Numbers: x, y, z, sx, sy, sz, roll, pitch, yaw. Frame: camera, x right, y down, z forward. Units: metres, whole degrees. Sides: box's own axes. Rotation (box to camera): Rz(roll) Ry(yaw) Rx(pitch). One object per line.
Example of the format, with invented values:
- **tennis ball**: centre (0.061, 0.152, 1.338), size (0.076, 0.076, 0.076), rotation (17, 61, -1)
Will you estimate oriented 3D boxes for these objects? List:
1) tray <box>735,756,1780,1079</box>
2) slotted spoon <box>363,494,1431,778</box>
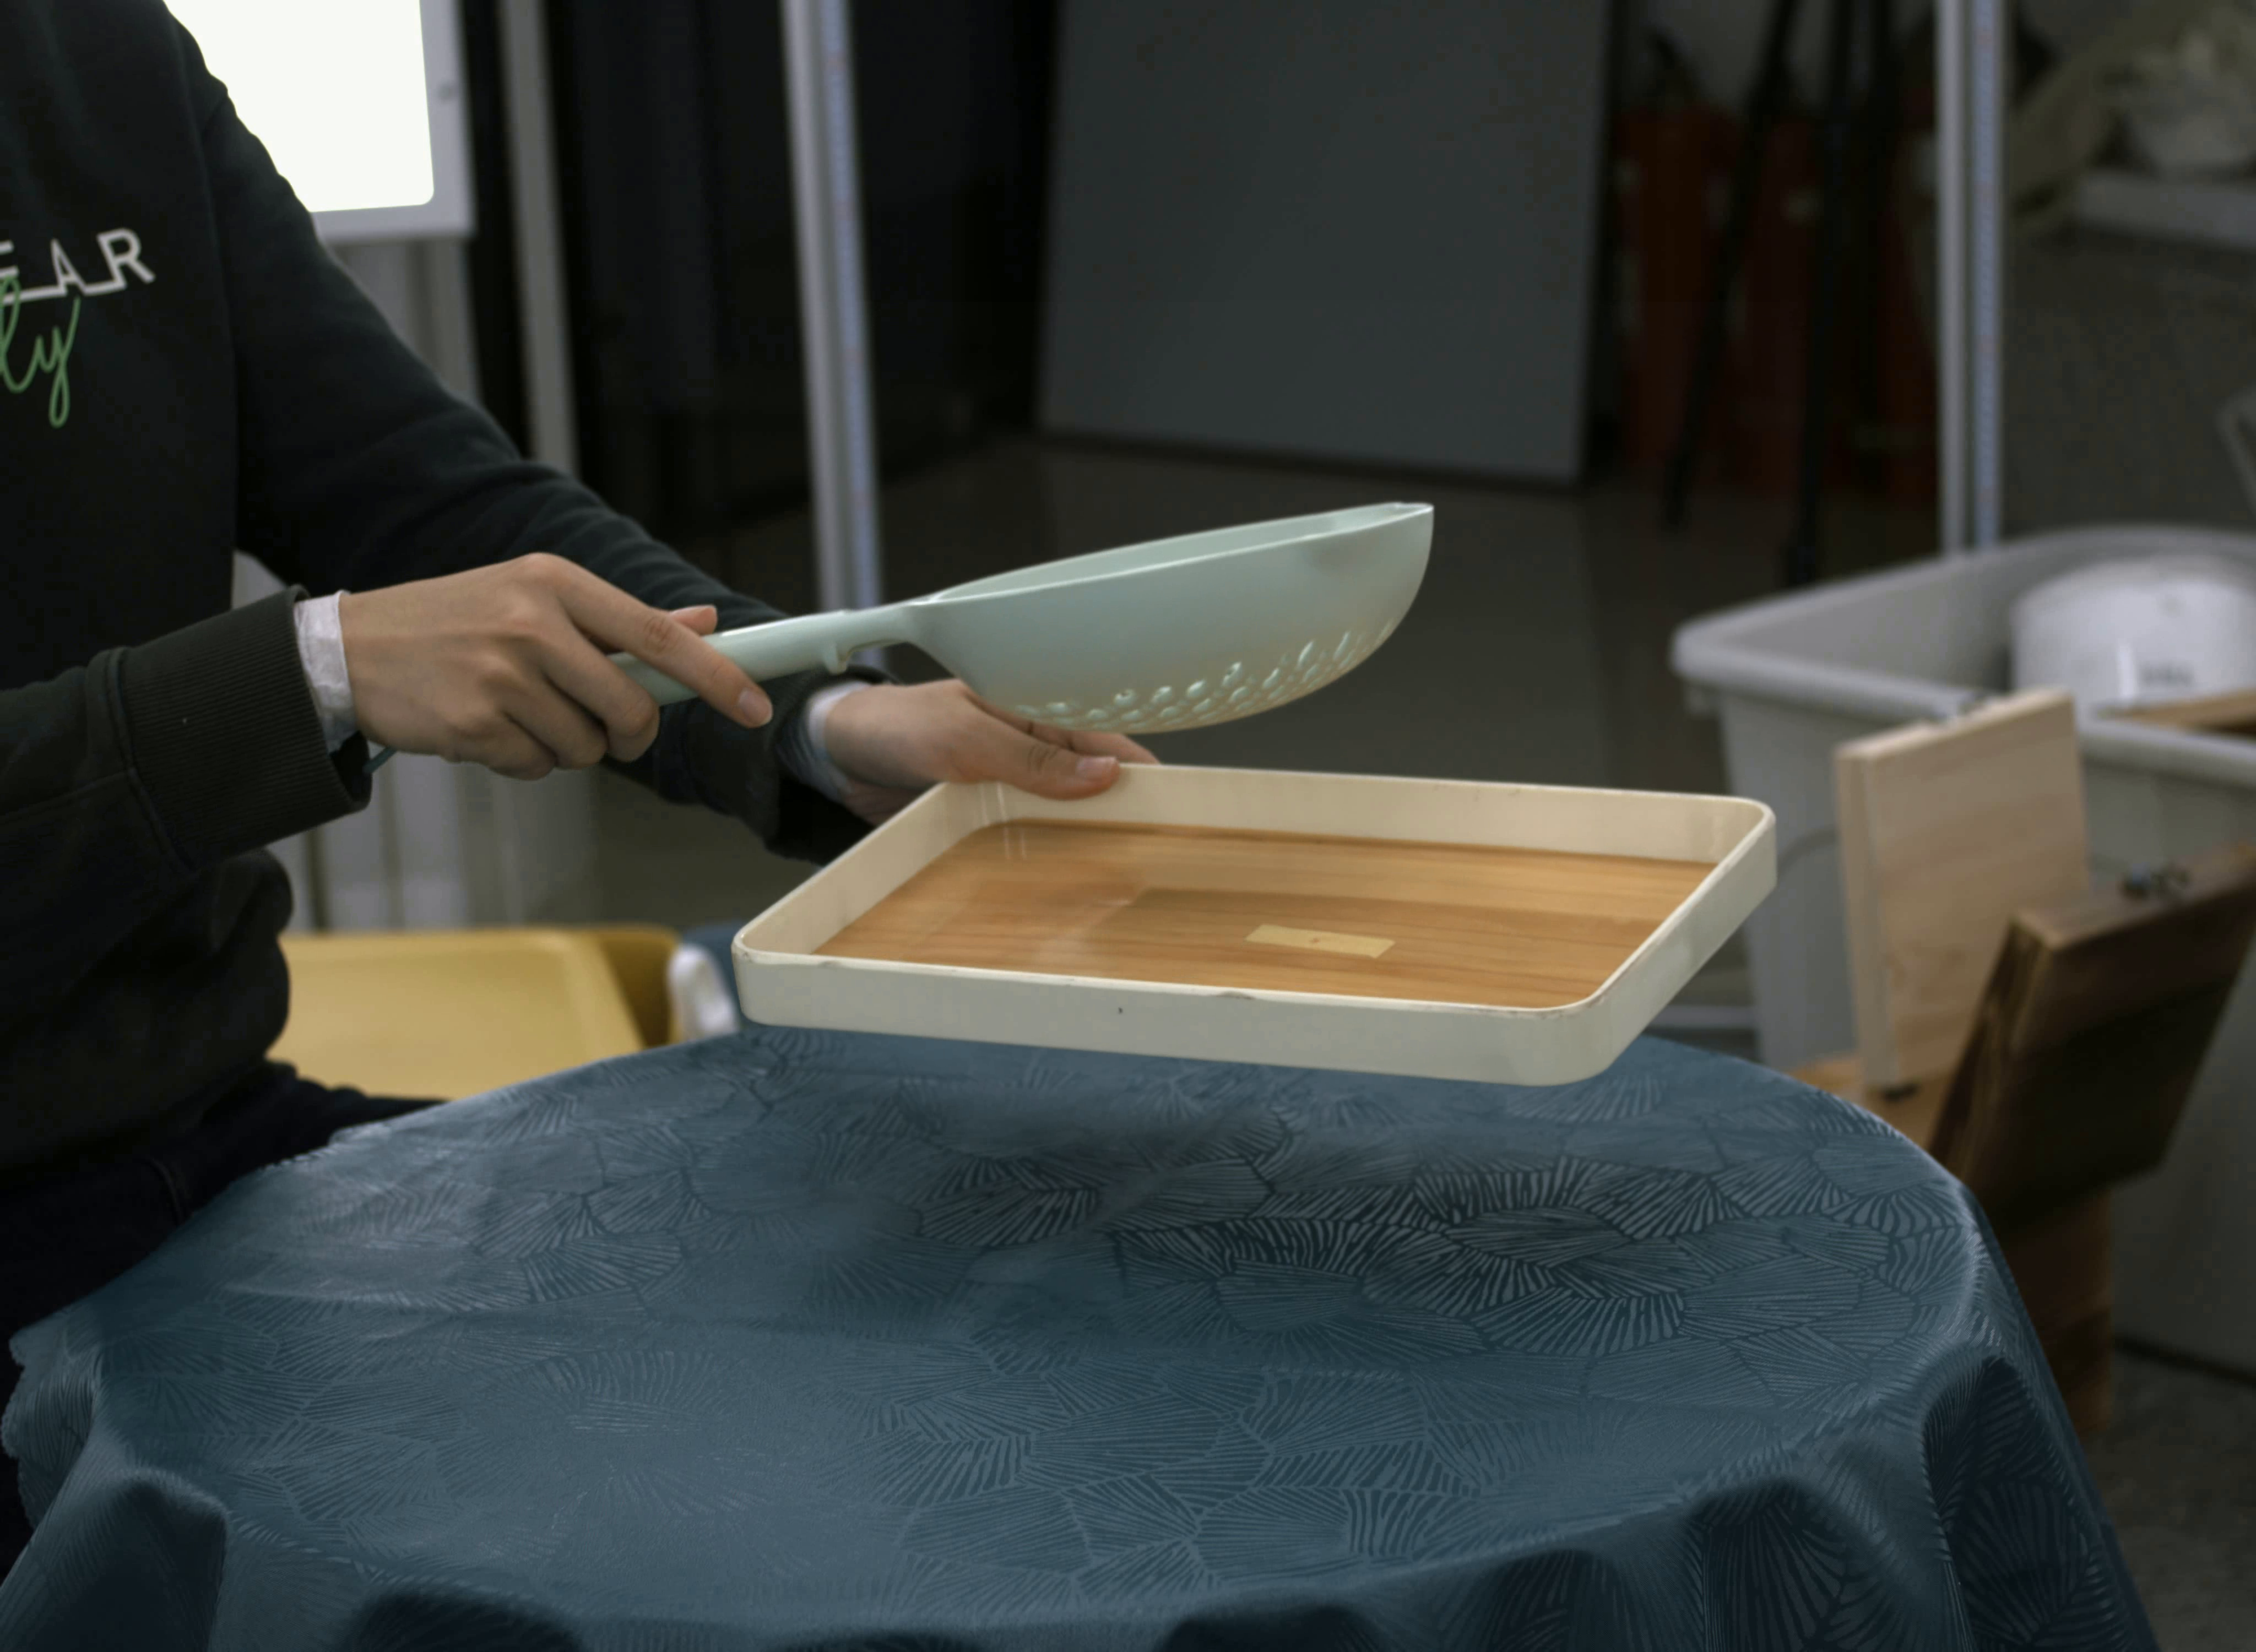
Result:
- **tray**: centre (0.042, 0.026, 1.723), size (0.301, 0.027, 0.189), rotation (3, 21, 27)
- **slotted spoon**: centre (-0.077, -0.060, 1.752), size (0.356, 0.076, 0.168), rotation (-2, 5, 8)
